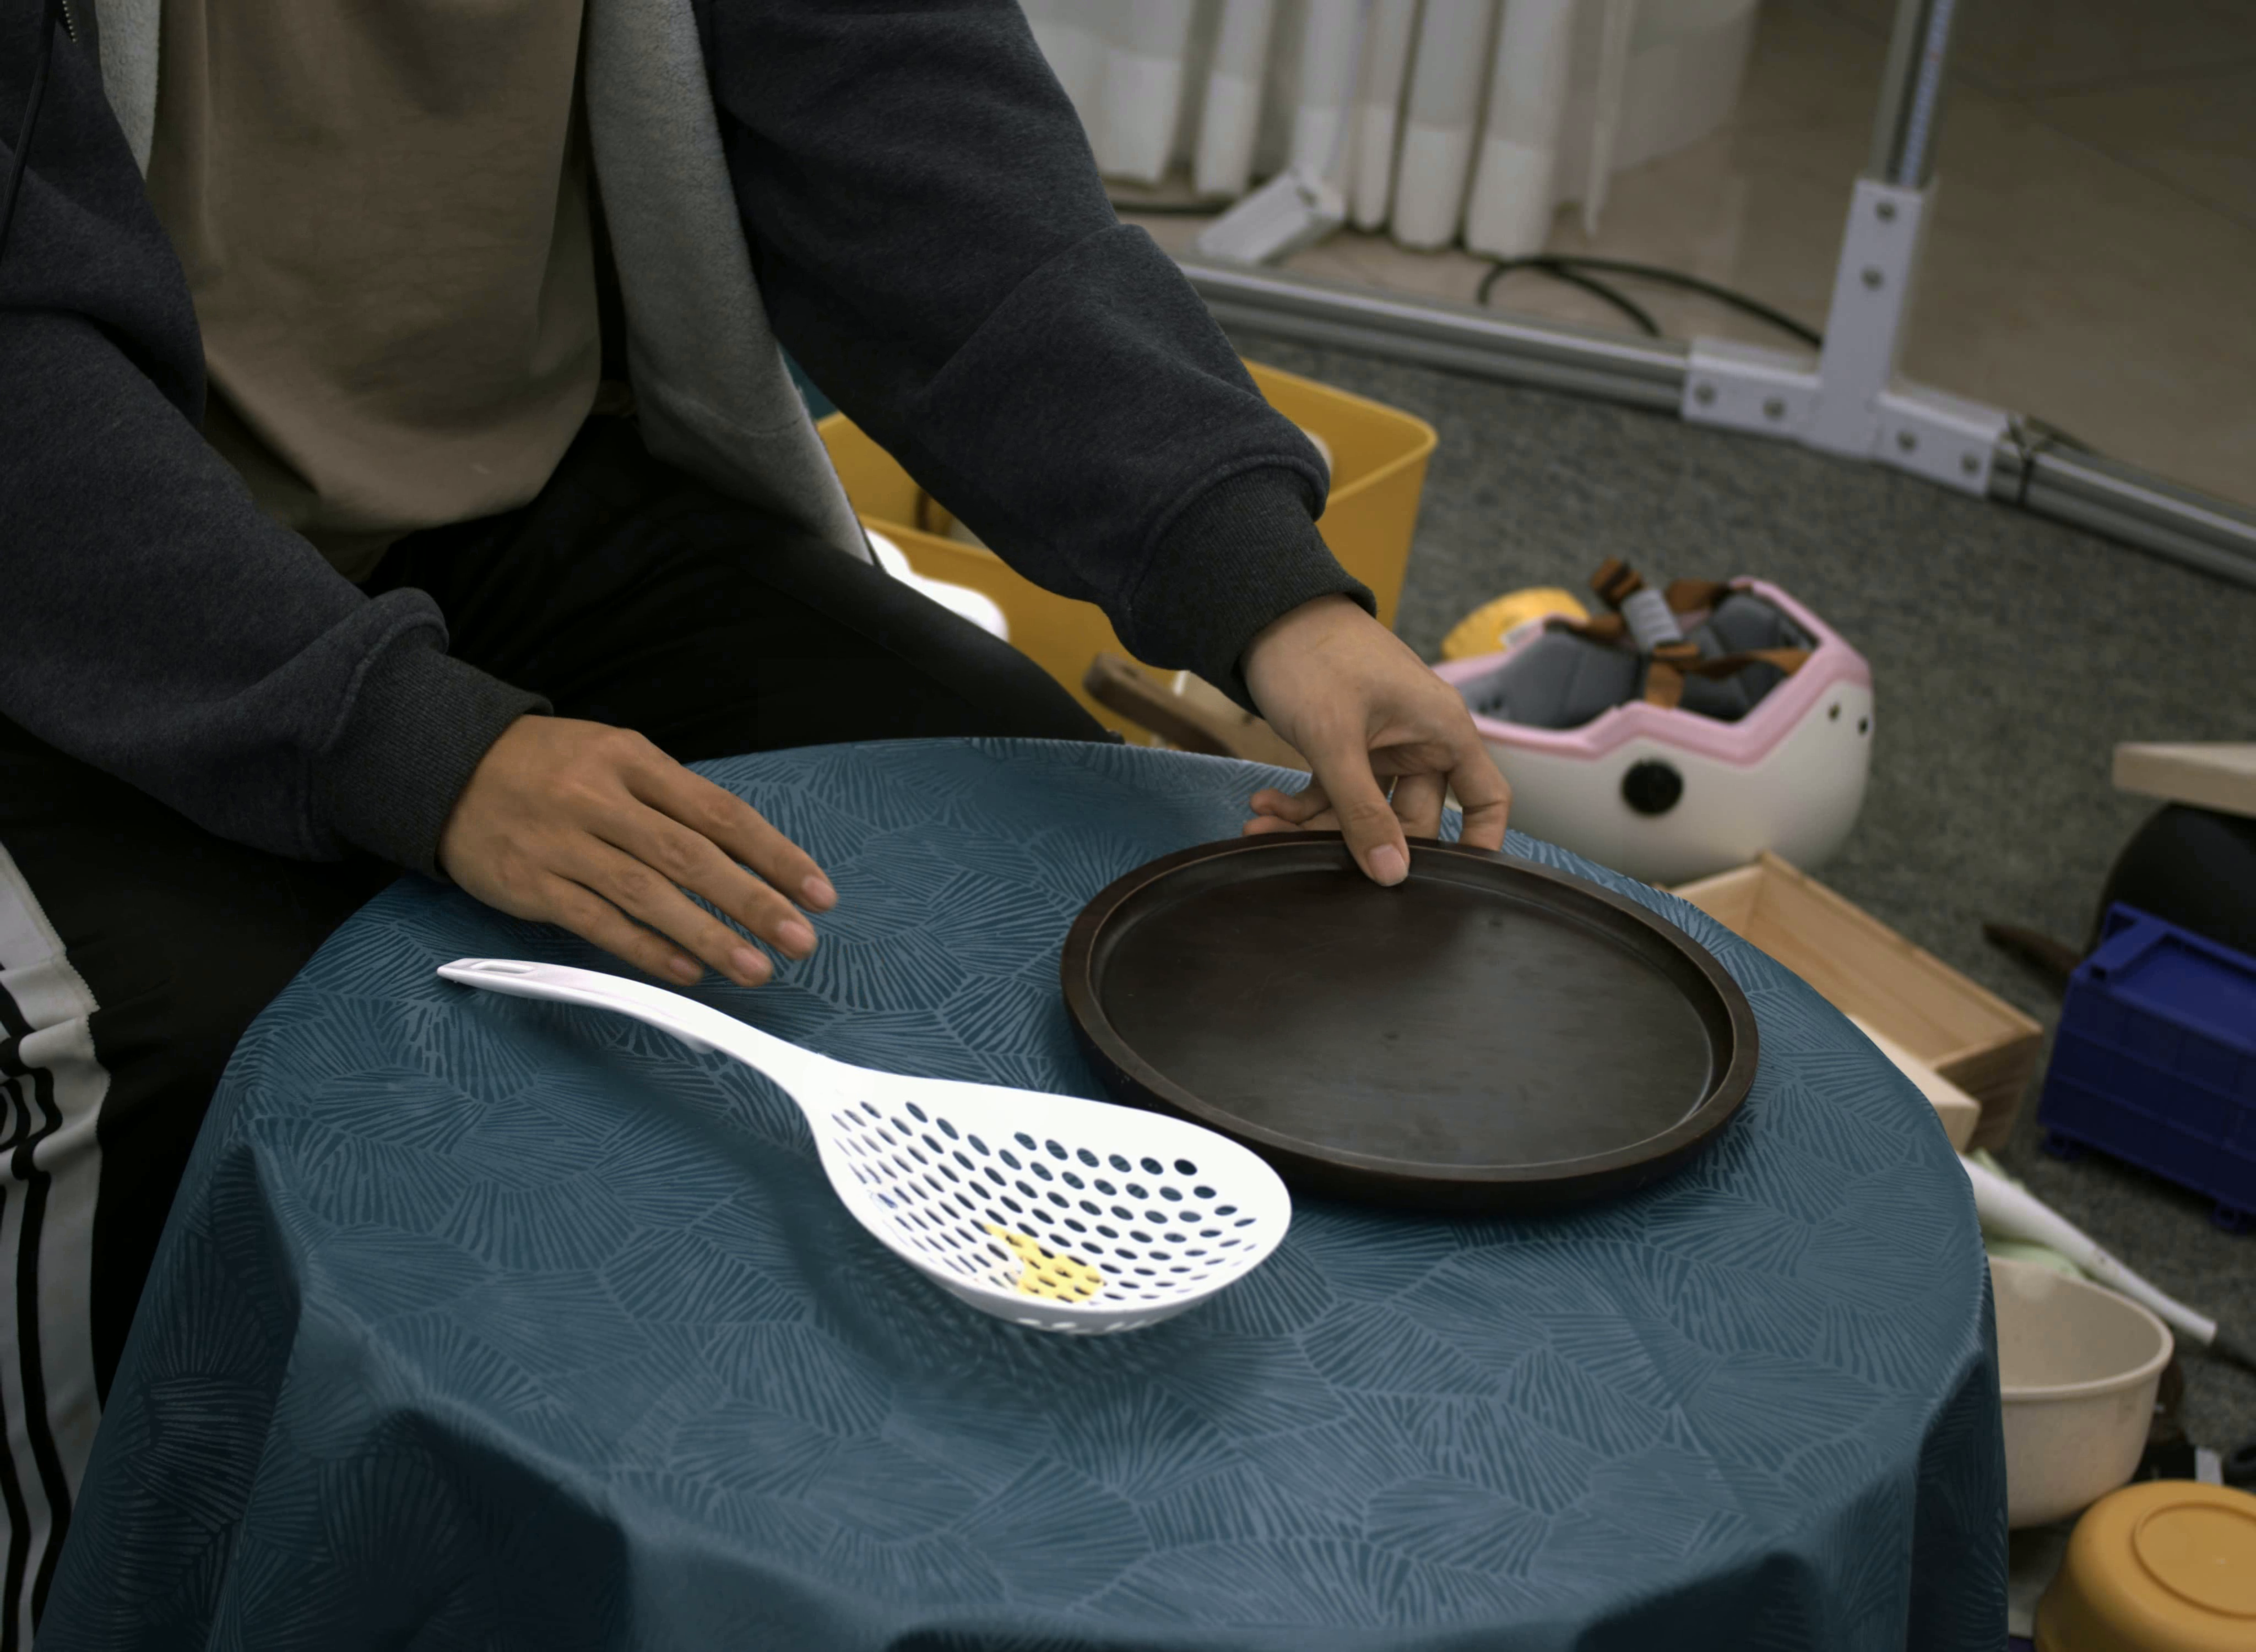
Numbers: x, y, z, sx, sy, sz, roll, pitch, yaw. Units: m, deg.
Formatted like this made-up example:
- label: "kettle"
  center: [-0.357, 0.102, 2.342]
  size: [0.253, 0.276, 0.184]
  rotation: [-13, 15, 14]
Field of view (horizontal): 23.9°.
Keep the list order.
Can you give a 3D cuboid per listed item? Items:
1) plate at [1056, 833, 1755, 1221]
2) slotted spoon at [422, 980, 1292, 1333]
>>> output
- label: "plate"
  center: [0.099, 0.070, 1.903]
  size: [0.254, 0.029, 0.256]
  rotation: [4, 28, -3]
- label: "slotted spoon"
  center: [-0.103, 0.097, 1.786]
  size: [0.350, 0.050, 0.136]
  rotation: [24, 34, 31]
